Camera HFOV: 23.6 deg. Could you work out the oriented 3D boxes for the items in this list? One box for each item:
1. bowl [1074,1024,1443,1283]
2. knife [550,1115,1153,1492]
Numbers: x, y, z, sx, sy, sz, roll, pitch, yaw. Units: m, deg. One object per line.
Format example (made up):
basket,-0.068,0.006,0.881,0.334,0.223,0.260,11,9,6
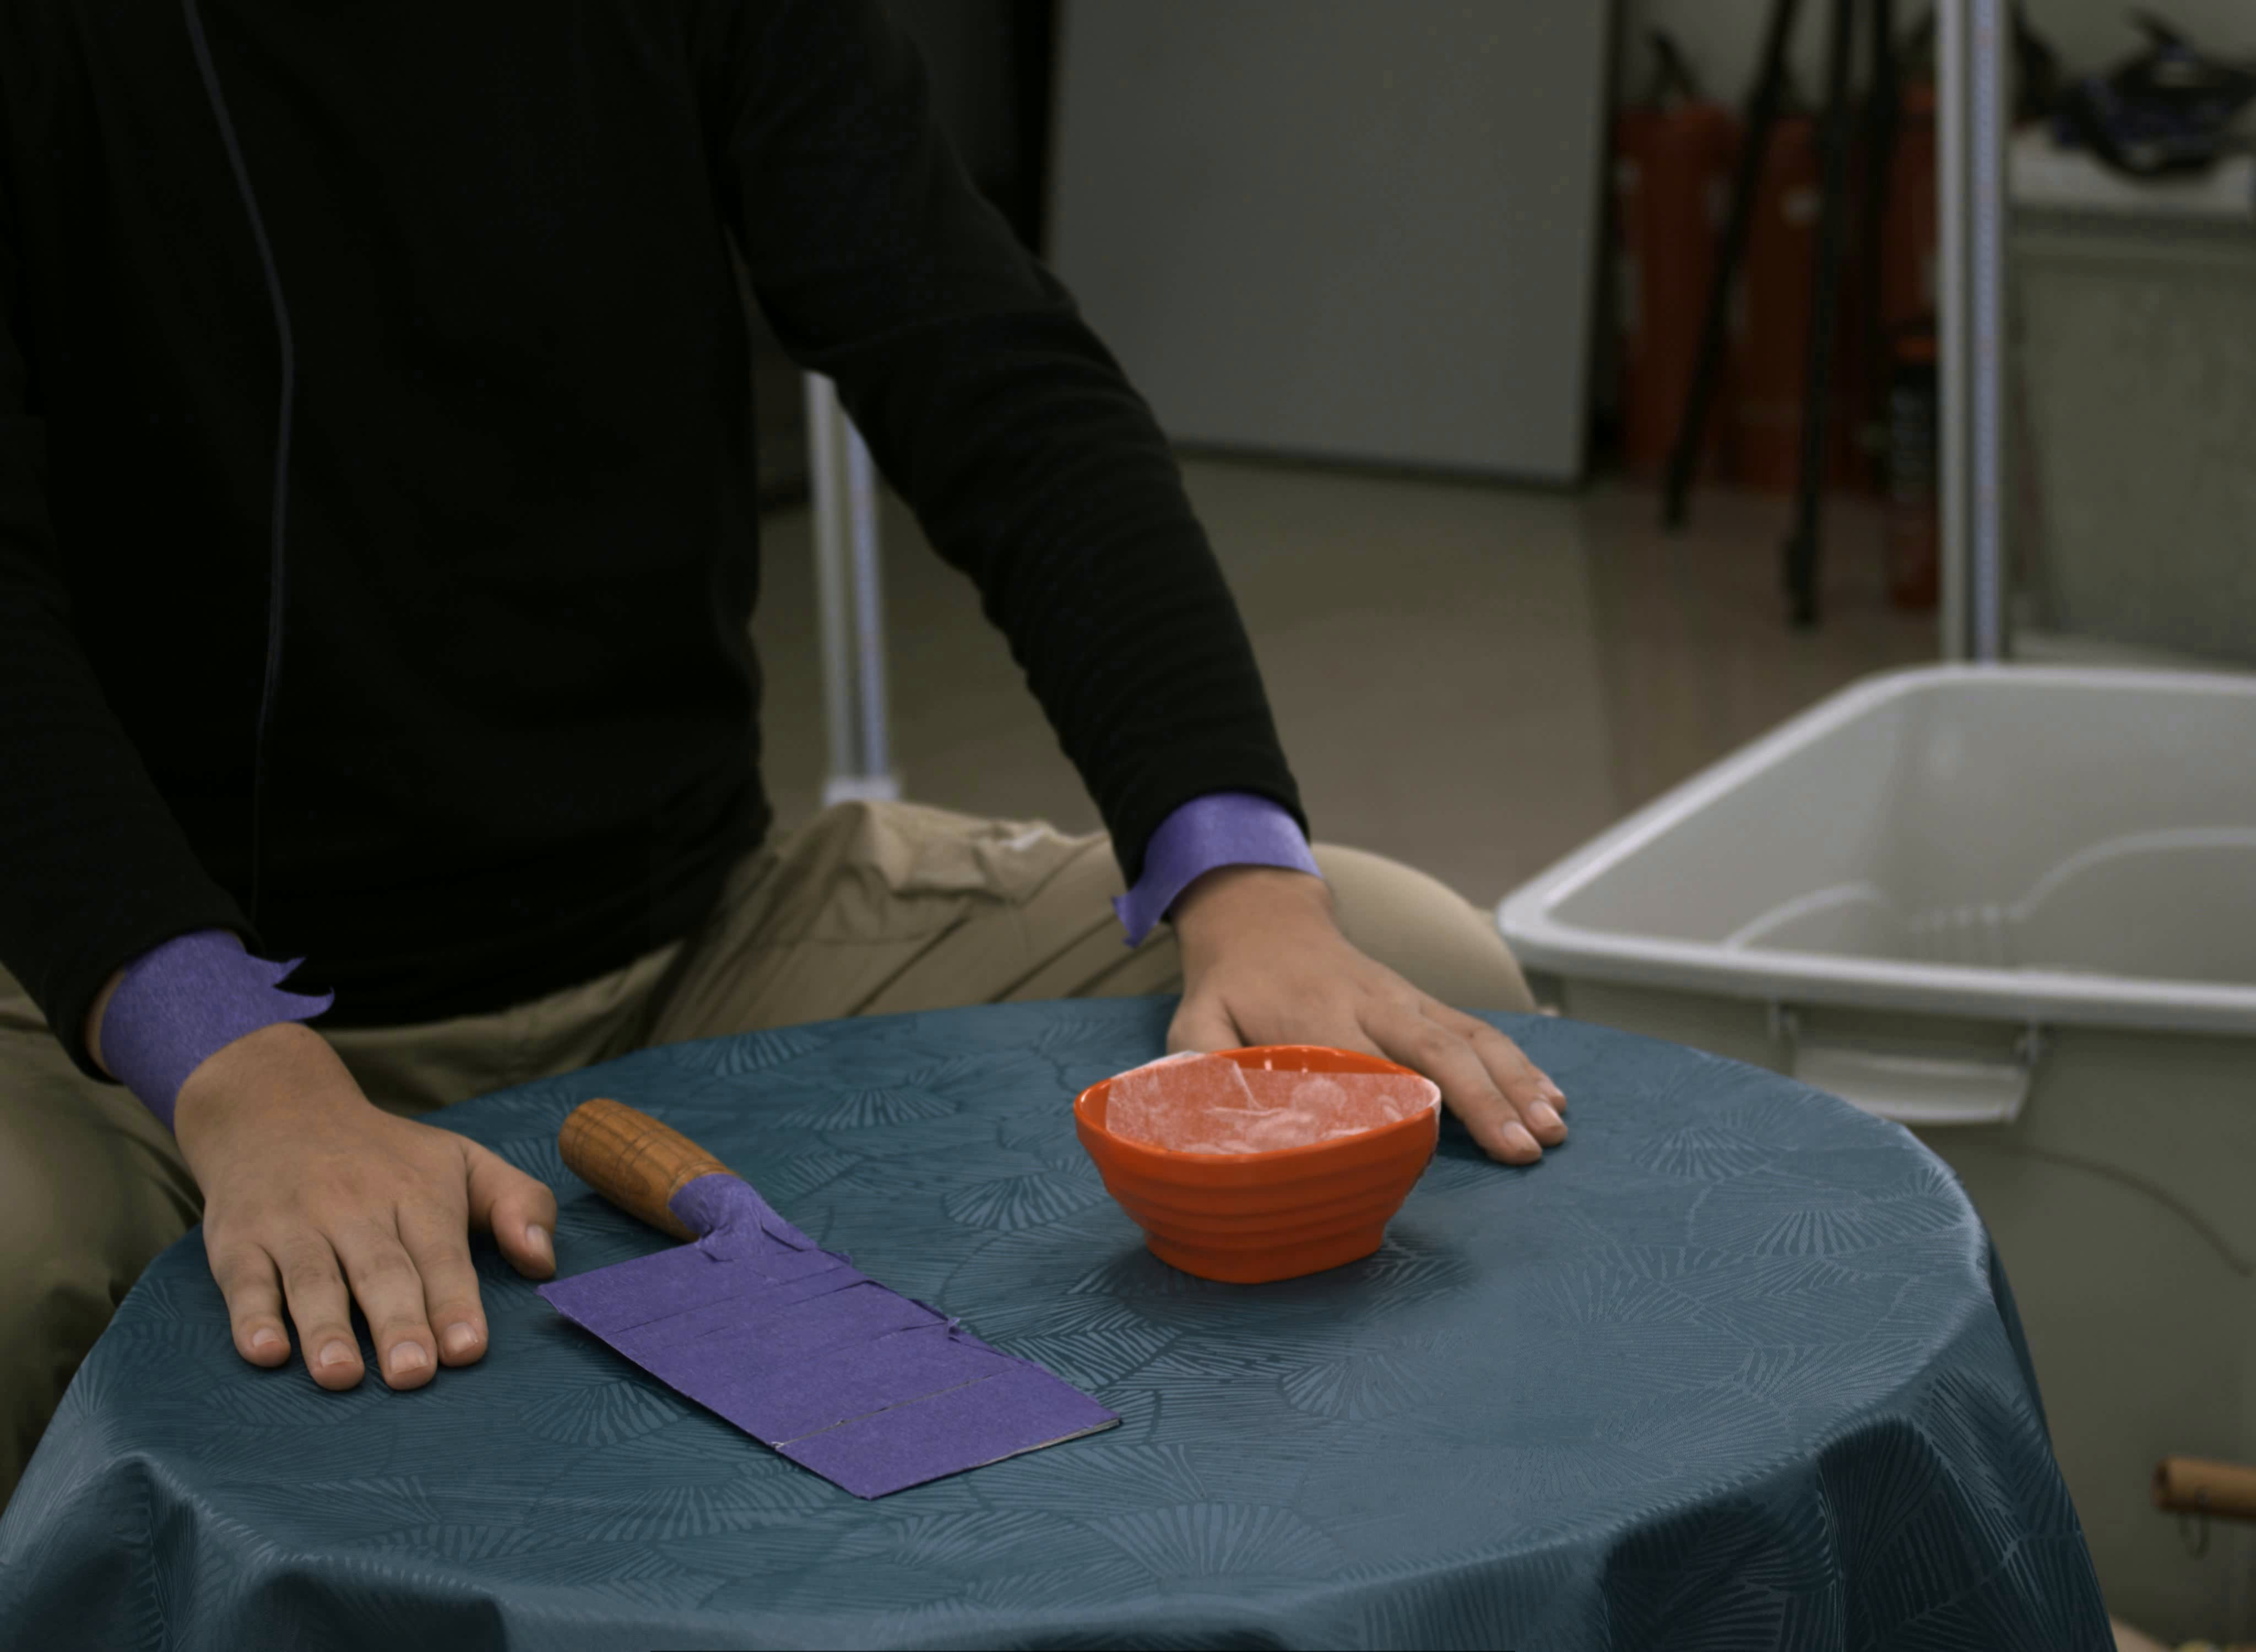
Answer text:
bowl,0.042,0.106,1.703,0.117,0.052,0.119,-4,18,0
knife,-0.118,0.144,1.664,0.101,0.032,0.318,-12,17,-31
